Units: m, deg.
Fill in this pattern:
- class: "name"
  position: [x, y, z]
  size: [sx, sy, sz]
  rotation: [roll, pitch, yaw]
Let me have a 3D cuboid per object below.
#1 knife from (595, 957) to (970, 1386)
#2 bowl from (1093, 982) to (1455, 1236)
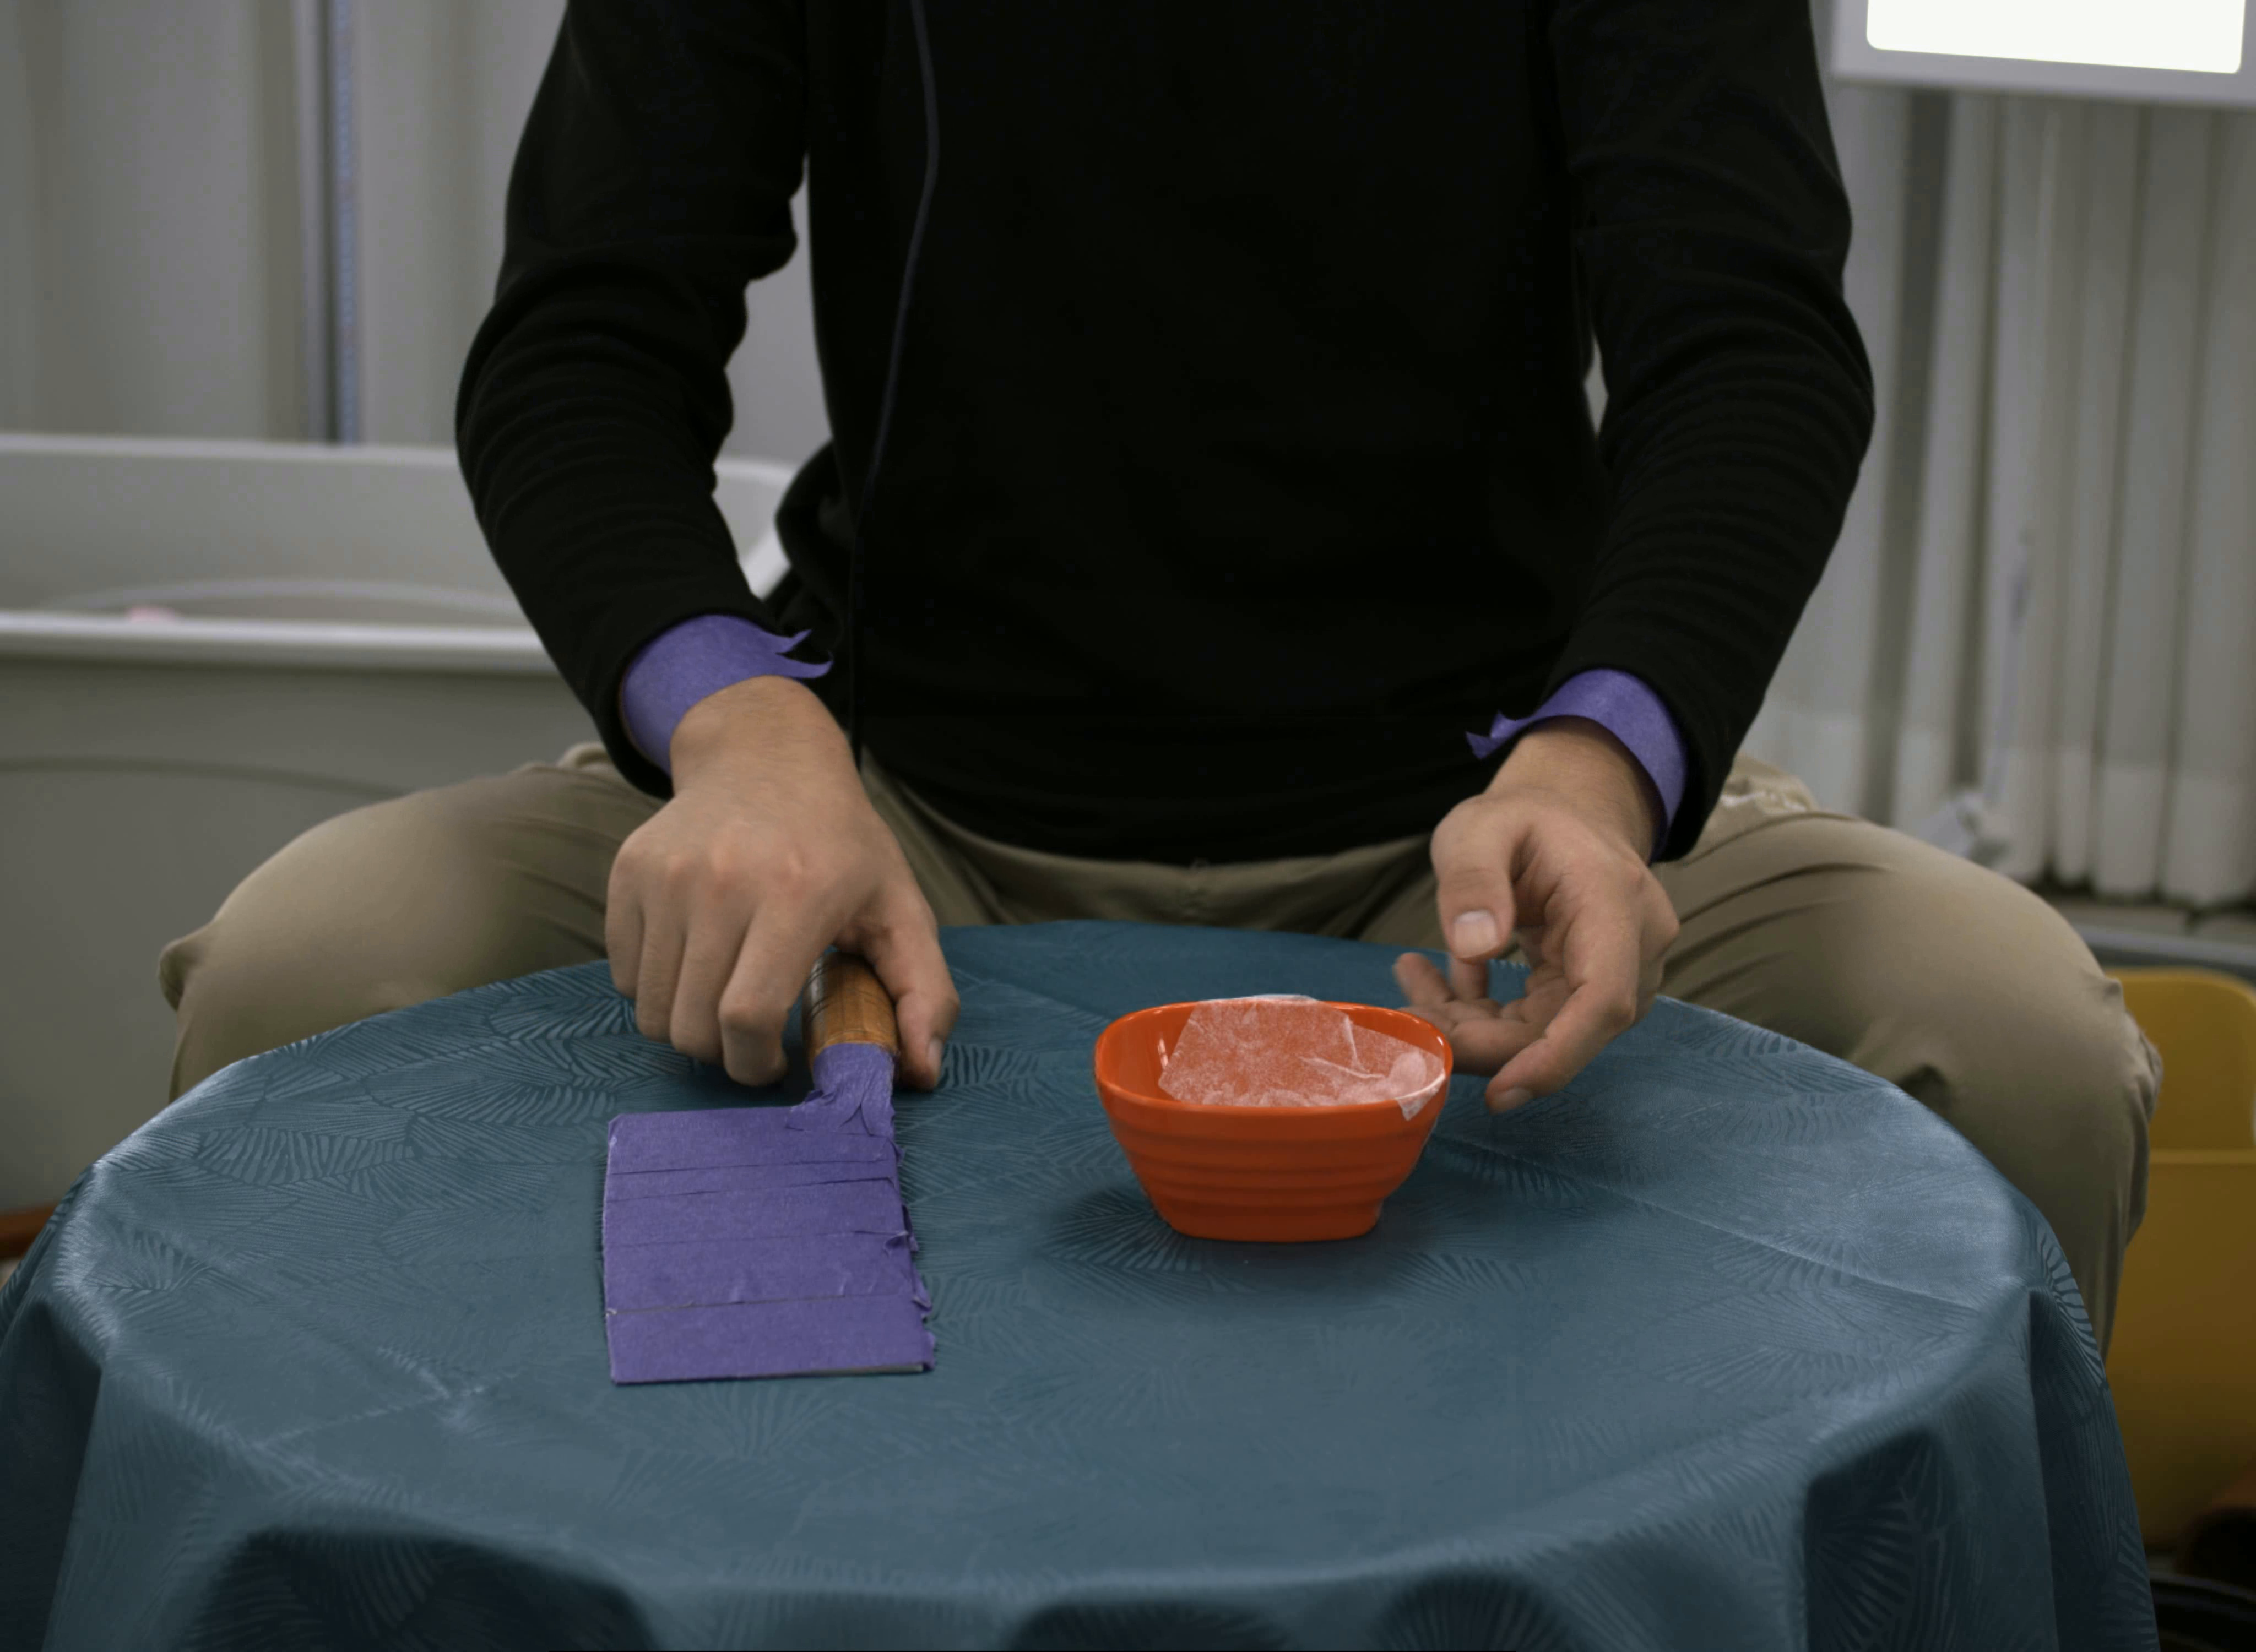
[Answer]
- class: "knife"
  position: [-0.111, 0.101, 1.609]
  size: [0.104, 0.032, 0.313]
  rotation: [-1, 16, -6]
- class: "bowl"
  position: [0.045, 0.089, 1.603]
  size: [0.118, 0.052, 0.118]
  rotation: [-1, 19, 1]
